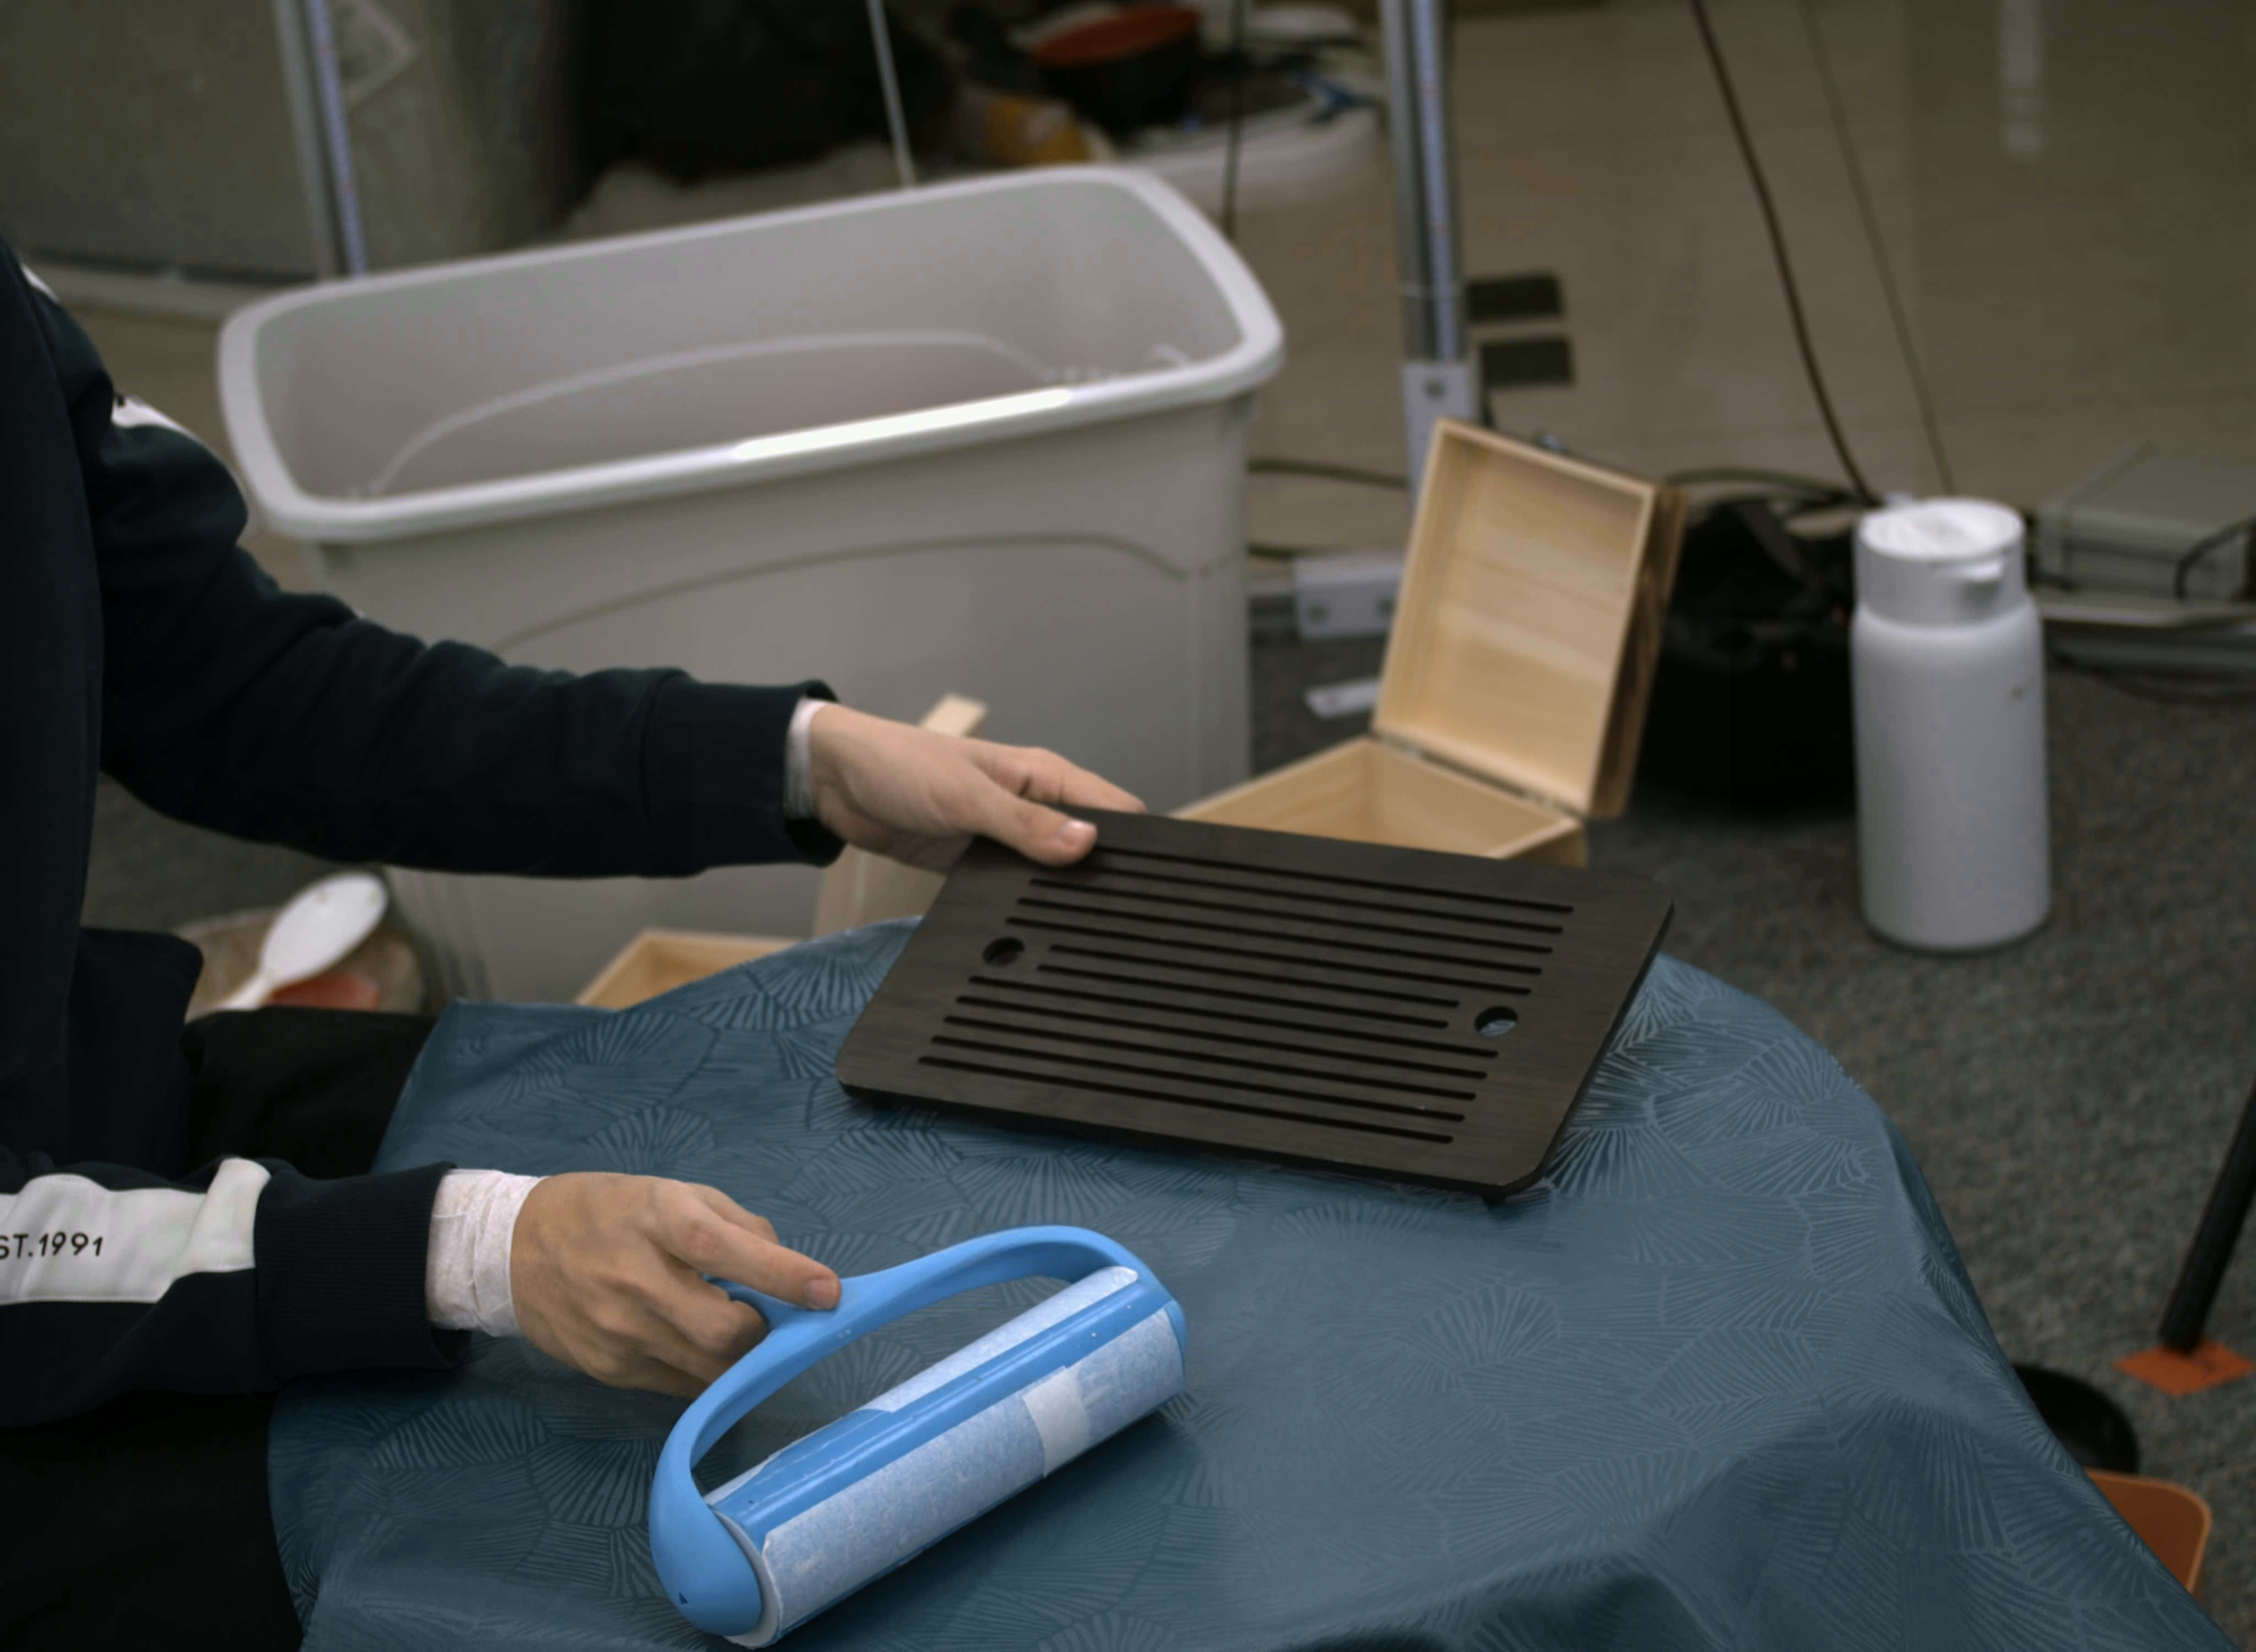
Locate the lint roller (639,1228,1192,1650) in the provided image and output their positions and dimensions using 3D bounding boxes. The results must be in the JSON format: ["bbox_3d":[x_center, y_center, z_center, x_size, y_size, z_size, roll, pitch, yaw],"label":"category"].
[{"bbox_3d":[-0.108,0.192,1.969,0.178,0.069,0.227,25,41,35],"label":"lint roller"}]

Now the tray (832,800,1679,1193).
[{"bbox_3d":[0.049,0.065,2.214,0.305,0.019,0.167,7,46,27],"label":"tray"}]
